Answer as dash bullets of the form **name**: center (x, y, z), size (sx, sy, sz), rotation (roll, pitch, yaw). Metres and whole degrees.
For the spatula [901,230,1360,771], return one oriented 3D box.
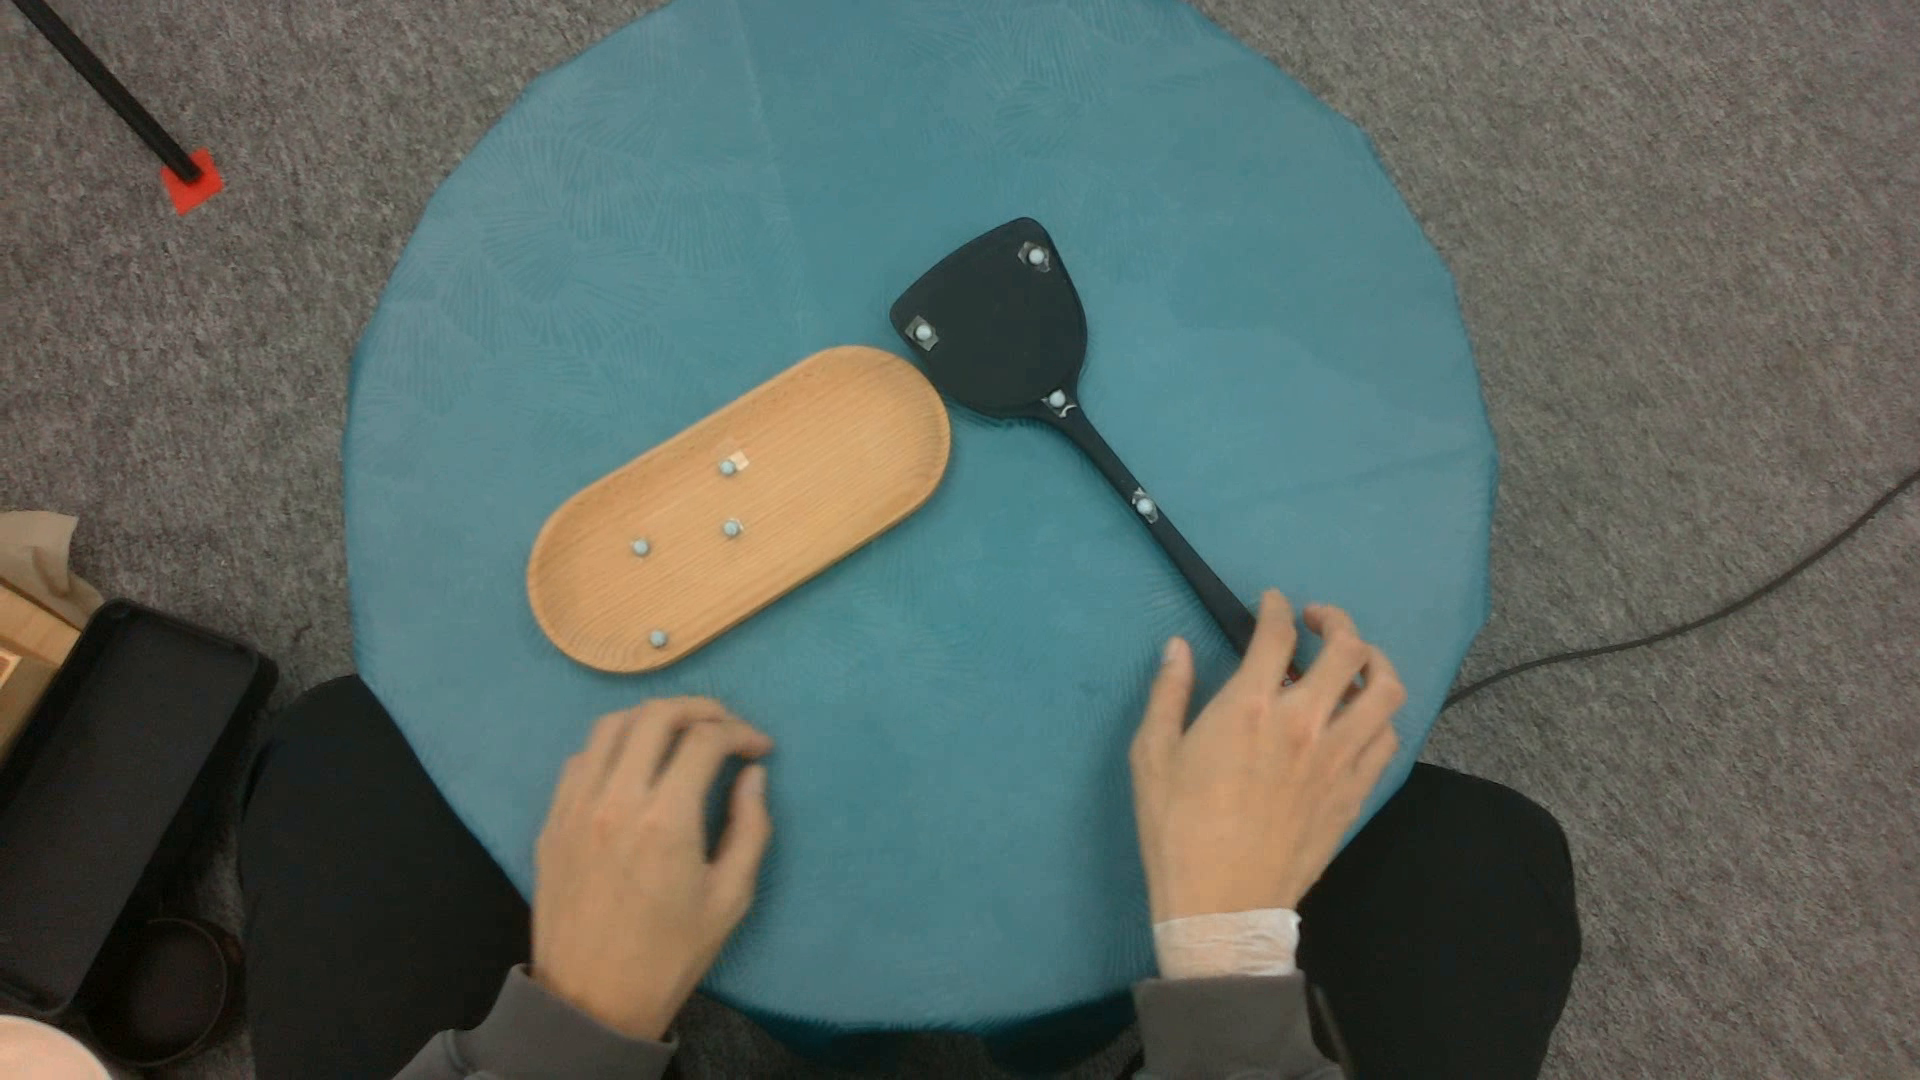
- **spatula**: center (0.099, -0.015, 0.708), size (0.100, 0.040, 0.326), rotation (-36, 76, -9)

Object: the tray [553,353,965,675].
- **tray**: center (-0.102, -0.015, 0.717), size (0.231, 0.020, 0.102), rotation (-32, 76, -10)
